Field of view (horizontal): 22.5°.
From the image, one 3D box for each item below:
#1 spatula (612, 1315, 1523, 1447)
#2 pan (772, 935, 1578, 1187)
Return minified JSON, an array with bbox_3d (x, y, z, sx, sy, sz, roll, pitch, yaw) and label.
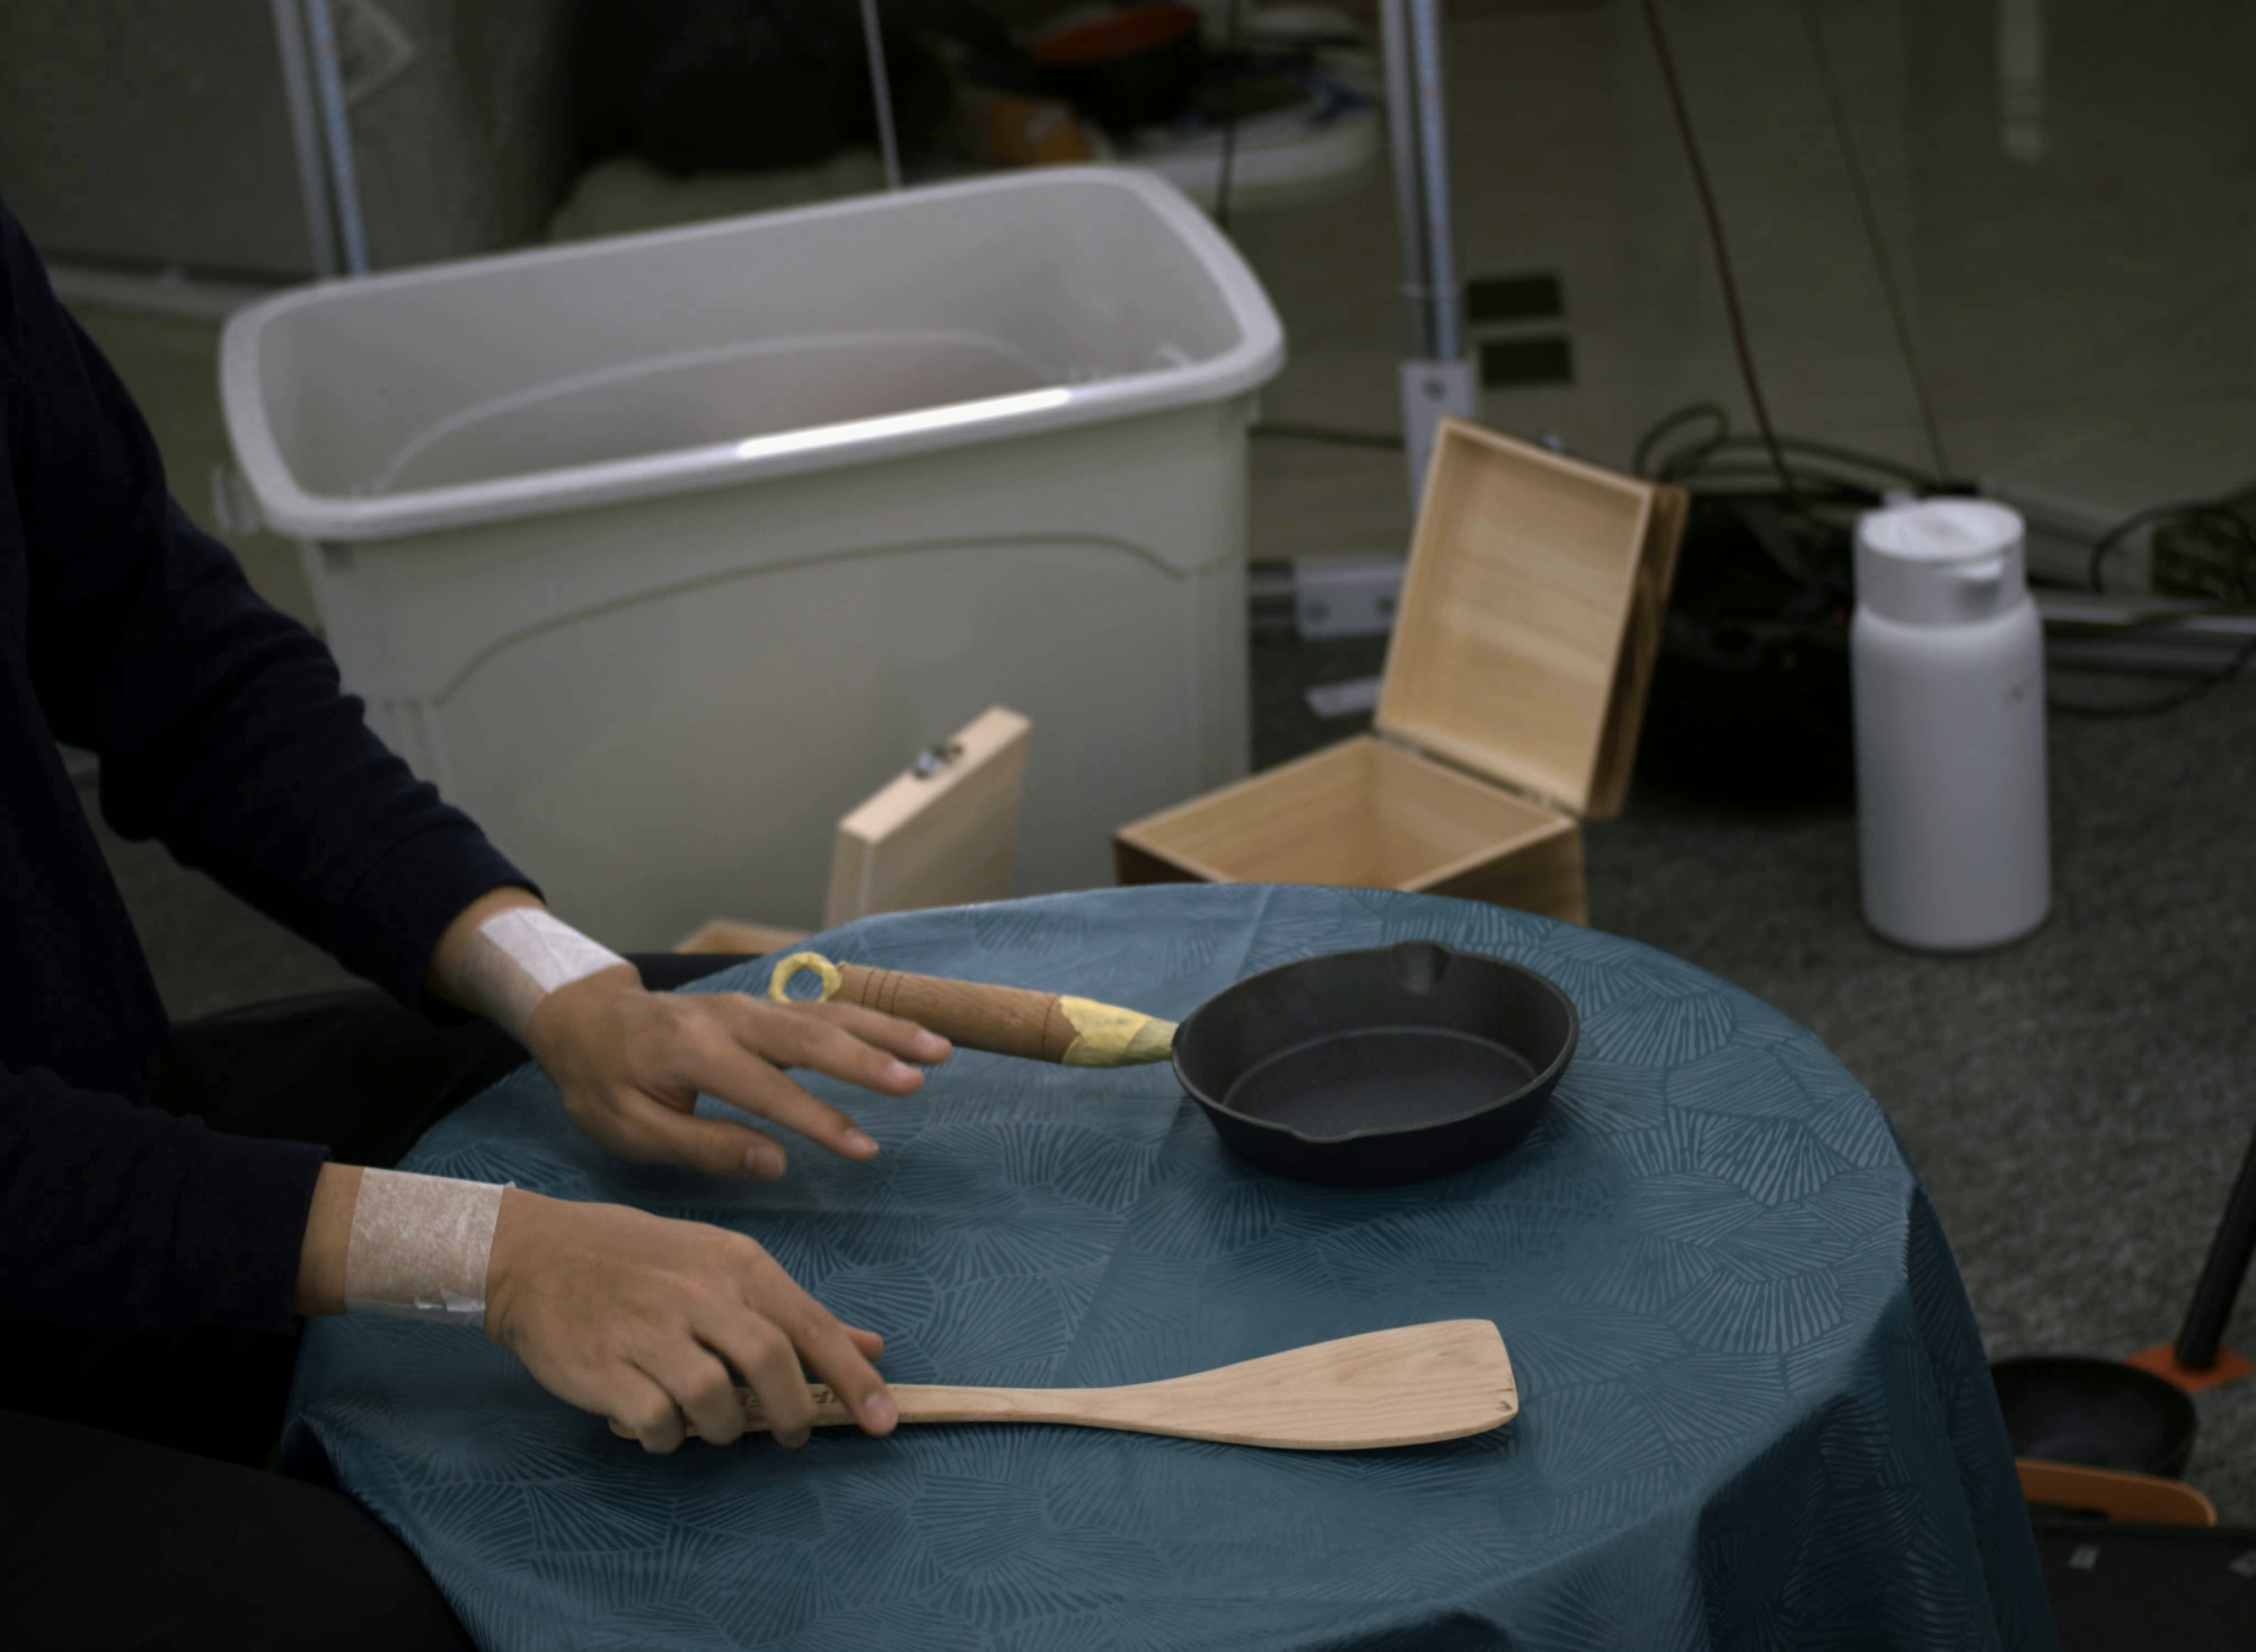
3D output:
[{"bbox_3d":[-0.022,0.200,2.002,0.327,0.017,0.079,-3,24,8],"label":"spatula"},{"bbox_3d":[0.015,0.083,2.202,0.323,0.050,0.166,4,27,18],"label":"pan"}]
